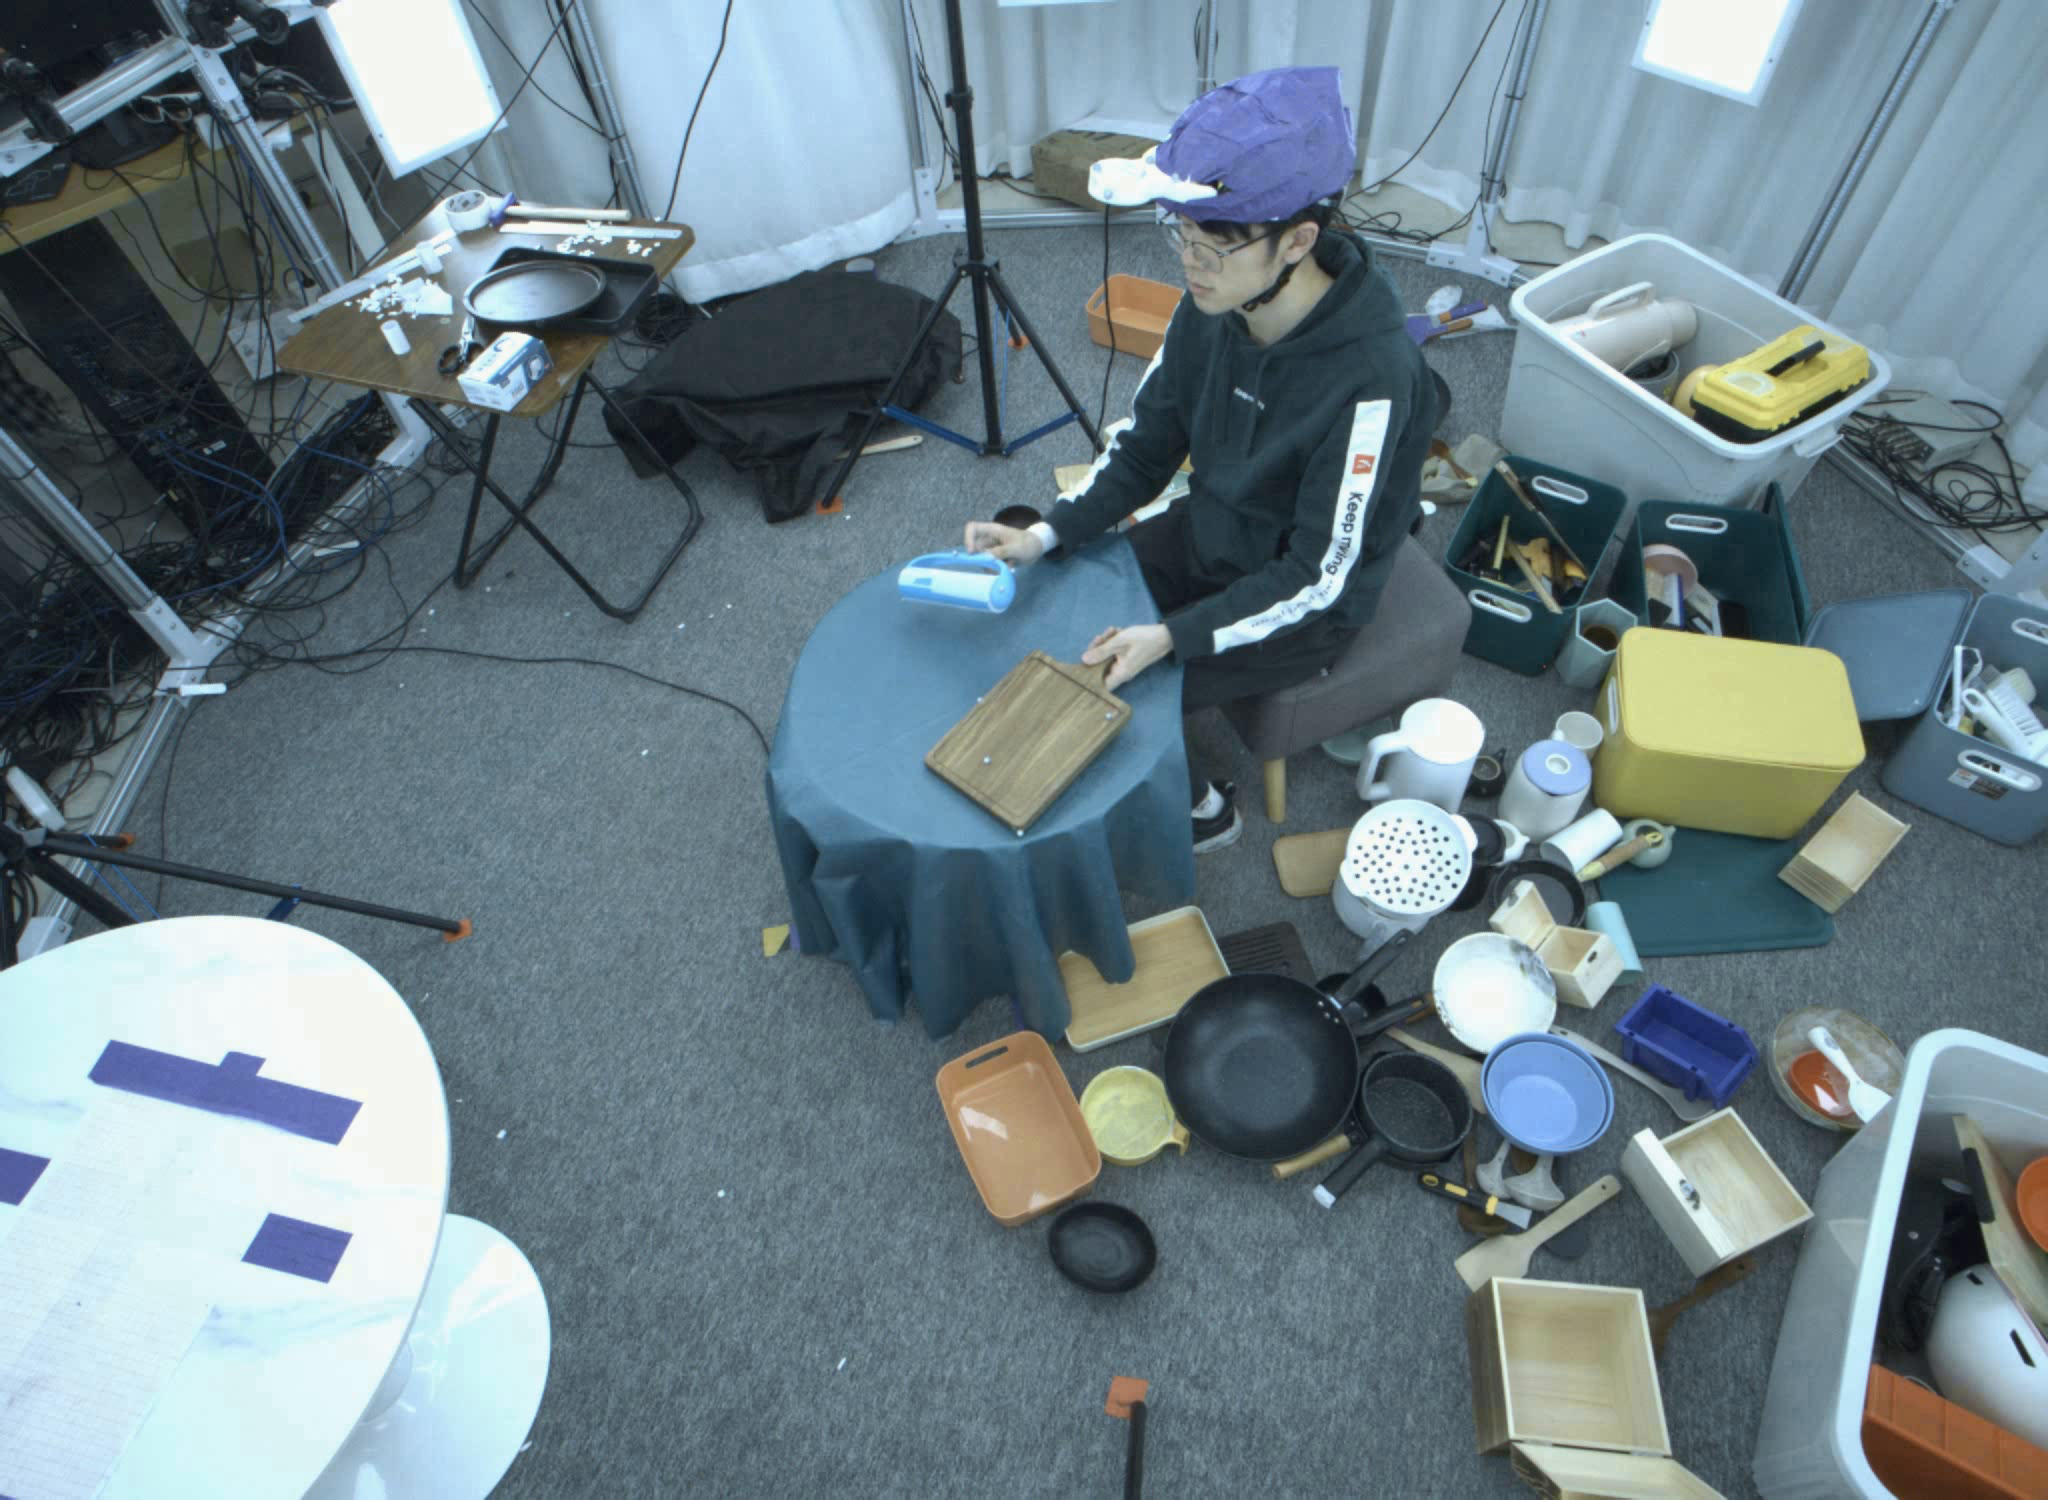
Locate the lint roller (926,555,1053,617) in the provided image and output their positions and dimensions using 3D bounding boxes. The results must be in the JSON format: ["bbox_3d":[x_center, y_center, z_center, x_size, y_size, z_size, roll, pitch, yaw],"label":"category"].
[{"bbox_3d":[-0.026,-0.266,1.867,0.224,0.069,0.182,12,37,39],"label":"lint roller"}]

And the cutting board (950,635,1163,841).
[{"bbox_3d":[0.079,-0.044,1.770,0.197,0.023,0.354,37,70,26],"label":"cutting board"}]
